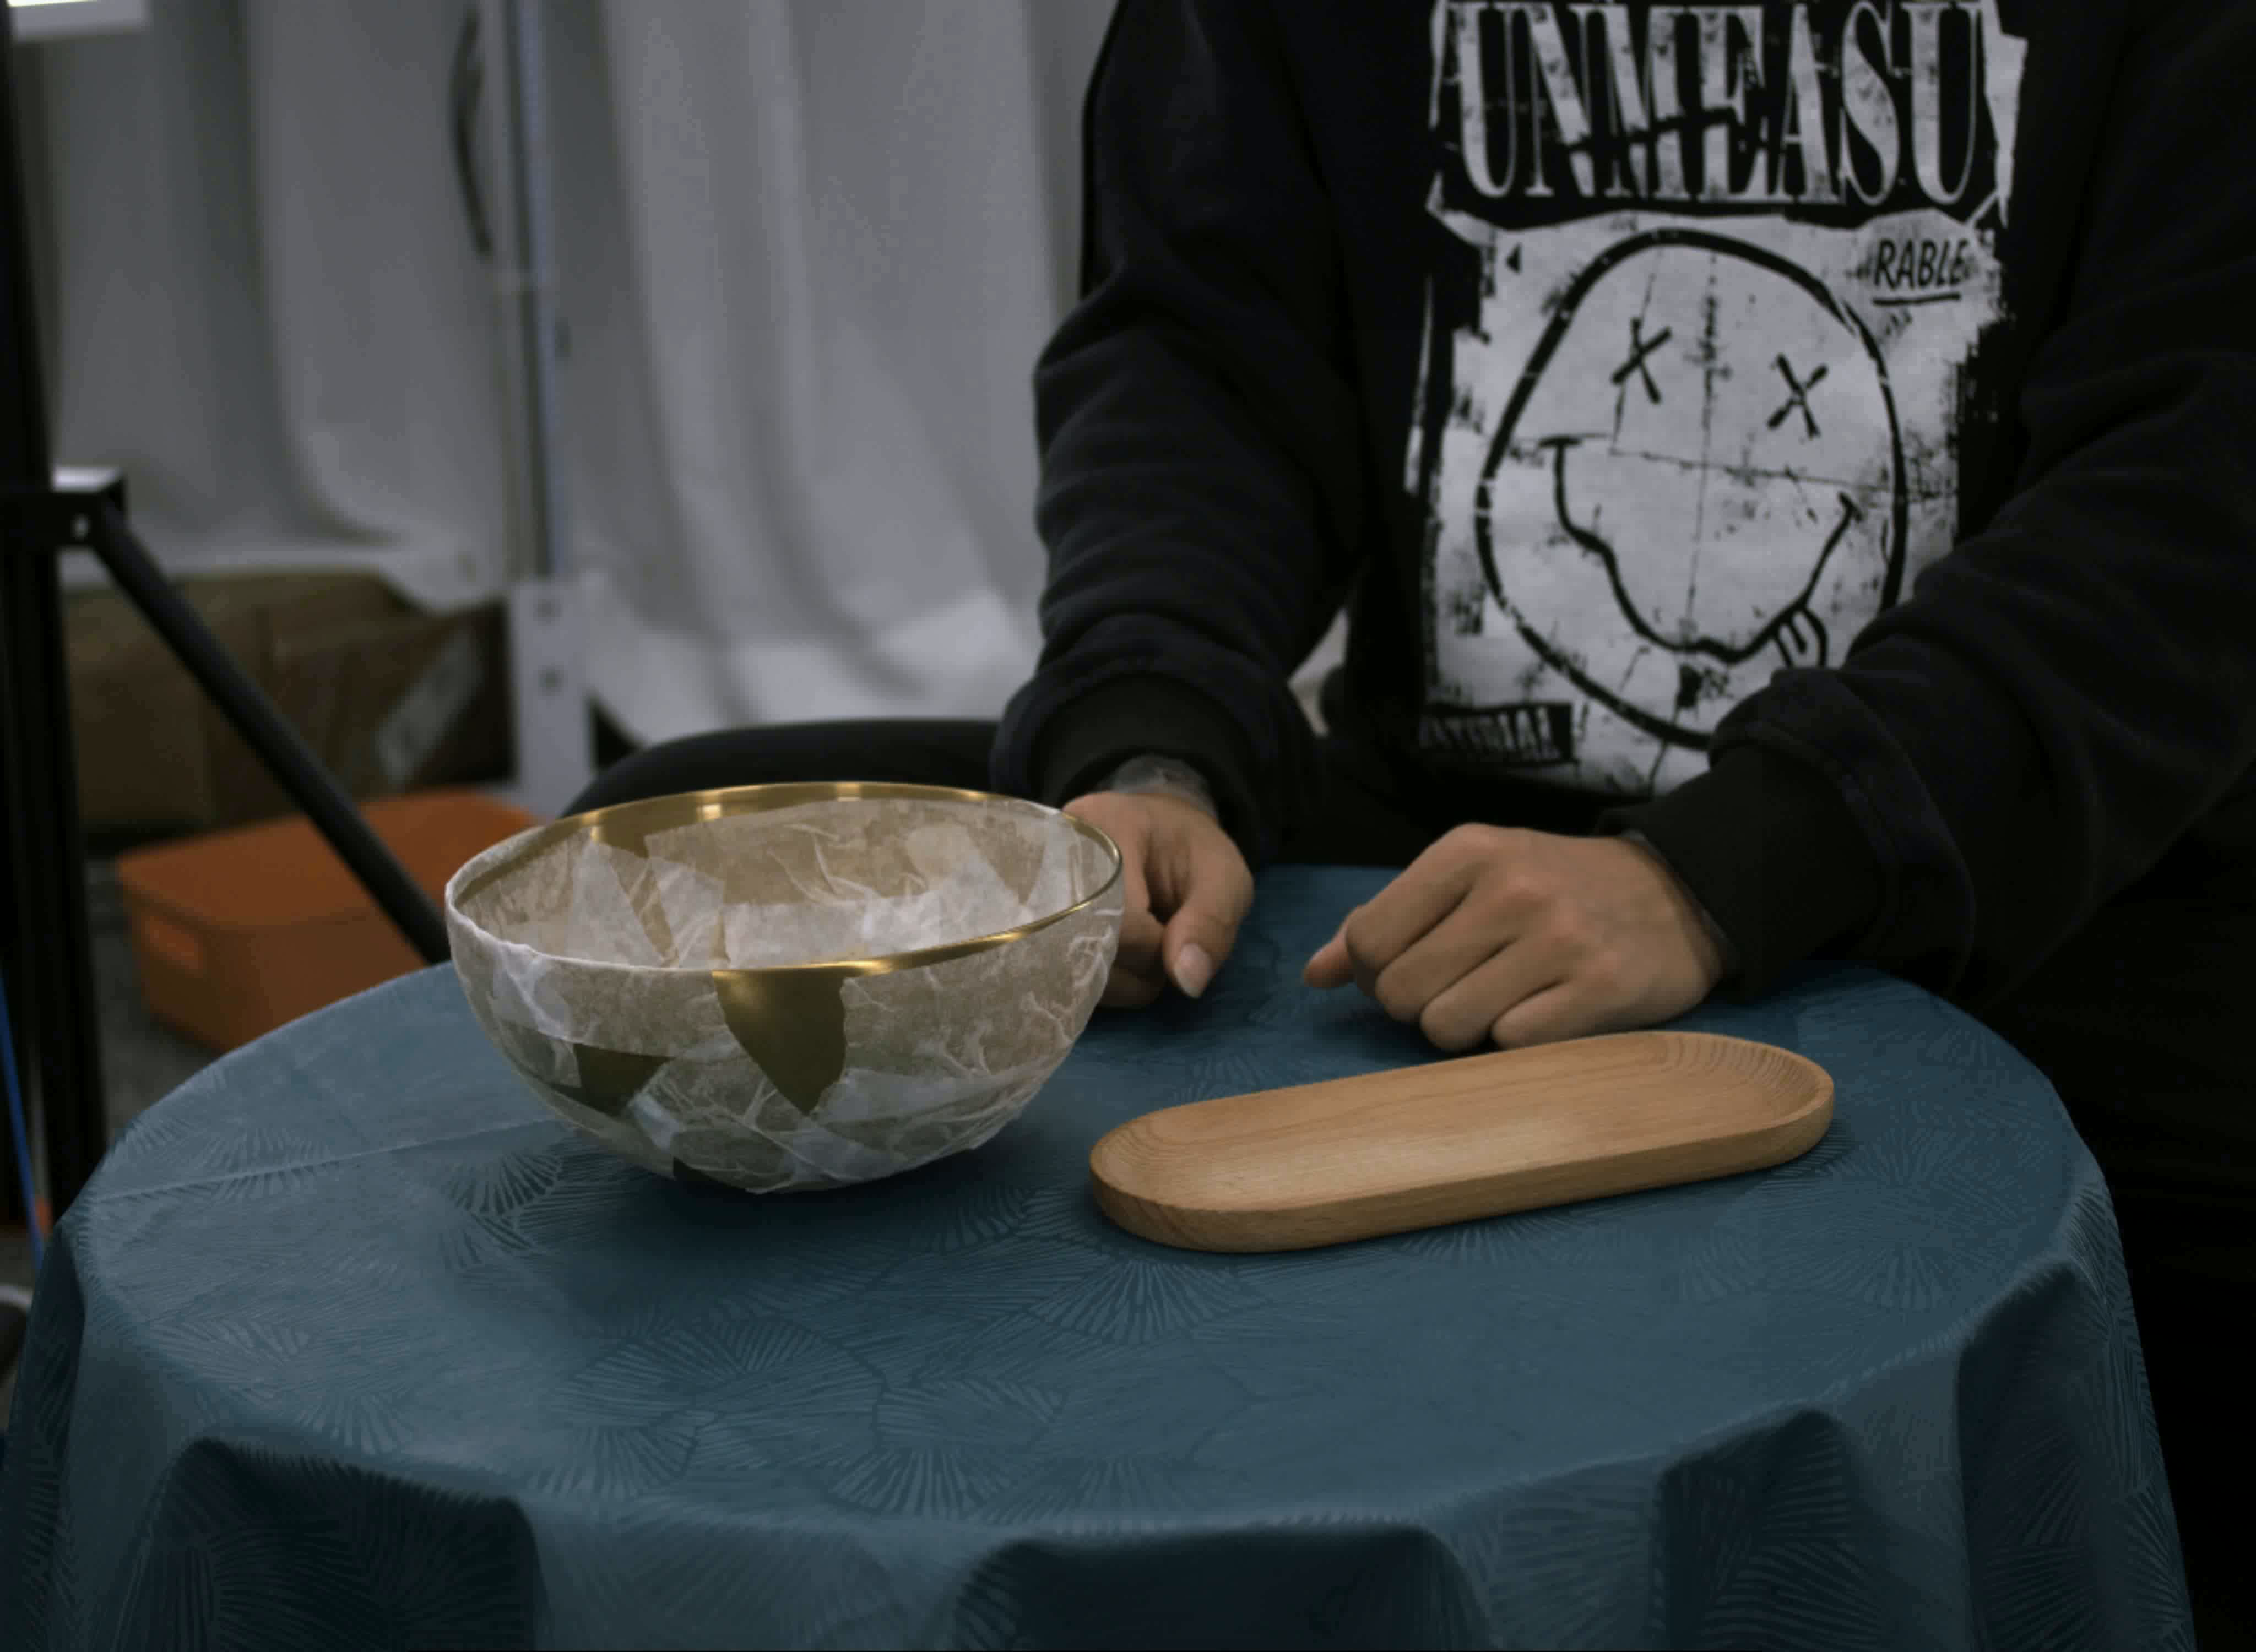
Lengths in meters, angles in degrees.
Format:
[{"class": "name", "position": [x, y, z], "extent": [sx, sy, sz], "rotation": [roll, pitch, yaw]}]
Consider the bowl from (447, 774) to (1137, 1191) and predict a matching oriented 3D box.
[{"class": "bowl", "position": [-0.095, 0.055, 1.591], "extent": [0.213, 0.094, 0.216], "rotation": [-3, 15, 0]}]

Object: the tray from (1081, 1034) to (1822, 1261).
[{"class": "tray", "position": [0.097, 0.095, 1.562], "extent": [0.227, 0.020, 0.103], "rotation": [-10, 15, -19]}]
